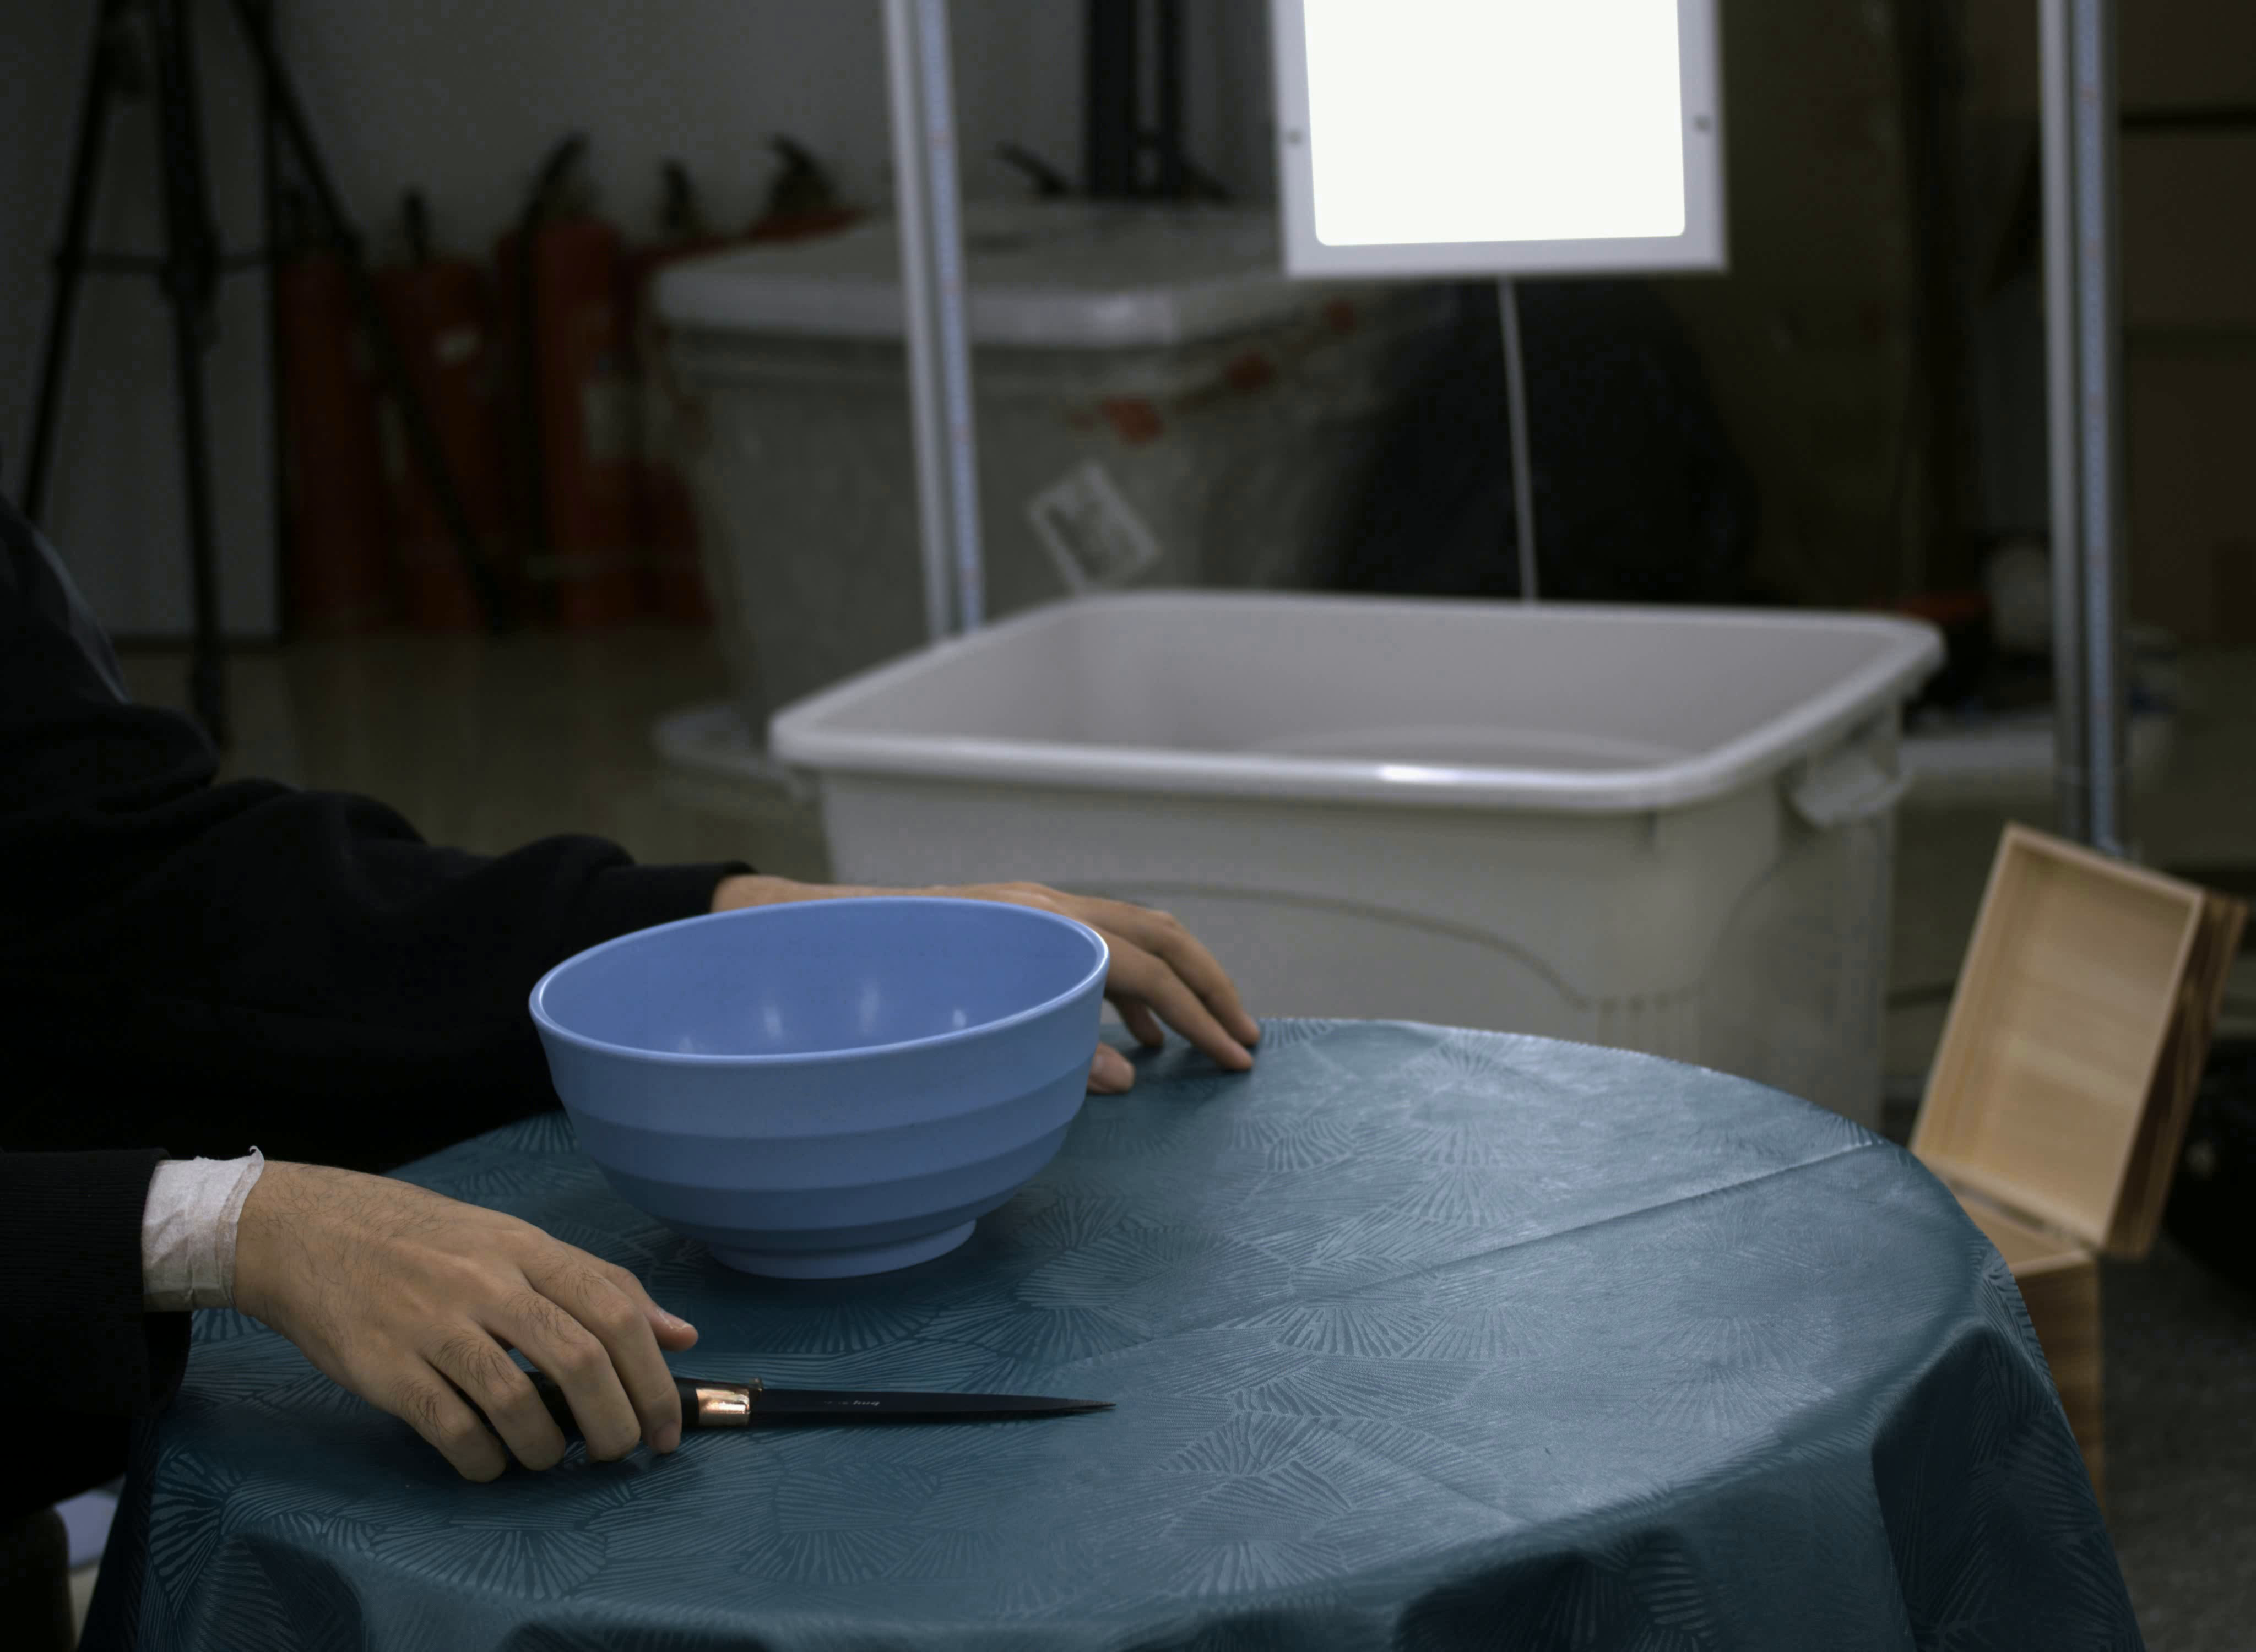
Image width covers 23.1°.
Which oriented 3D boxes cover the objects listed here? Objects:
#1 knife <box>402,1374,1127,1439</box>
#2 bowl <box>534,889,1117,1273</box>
[{"bbox_3d":[-0.112,0.178,1.706,0.226,0.017,0.026,-2,12,7],"label":"knife"},{"bbox_3d":[-0.101,0.092,1.864,0.196,0.096,0.196,-2,14,-1],"label":"bowl"}]
